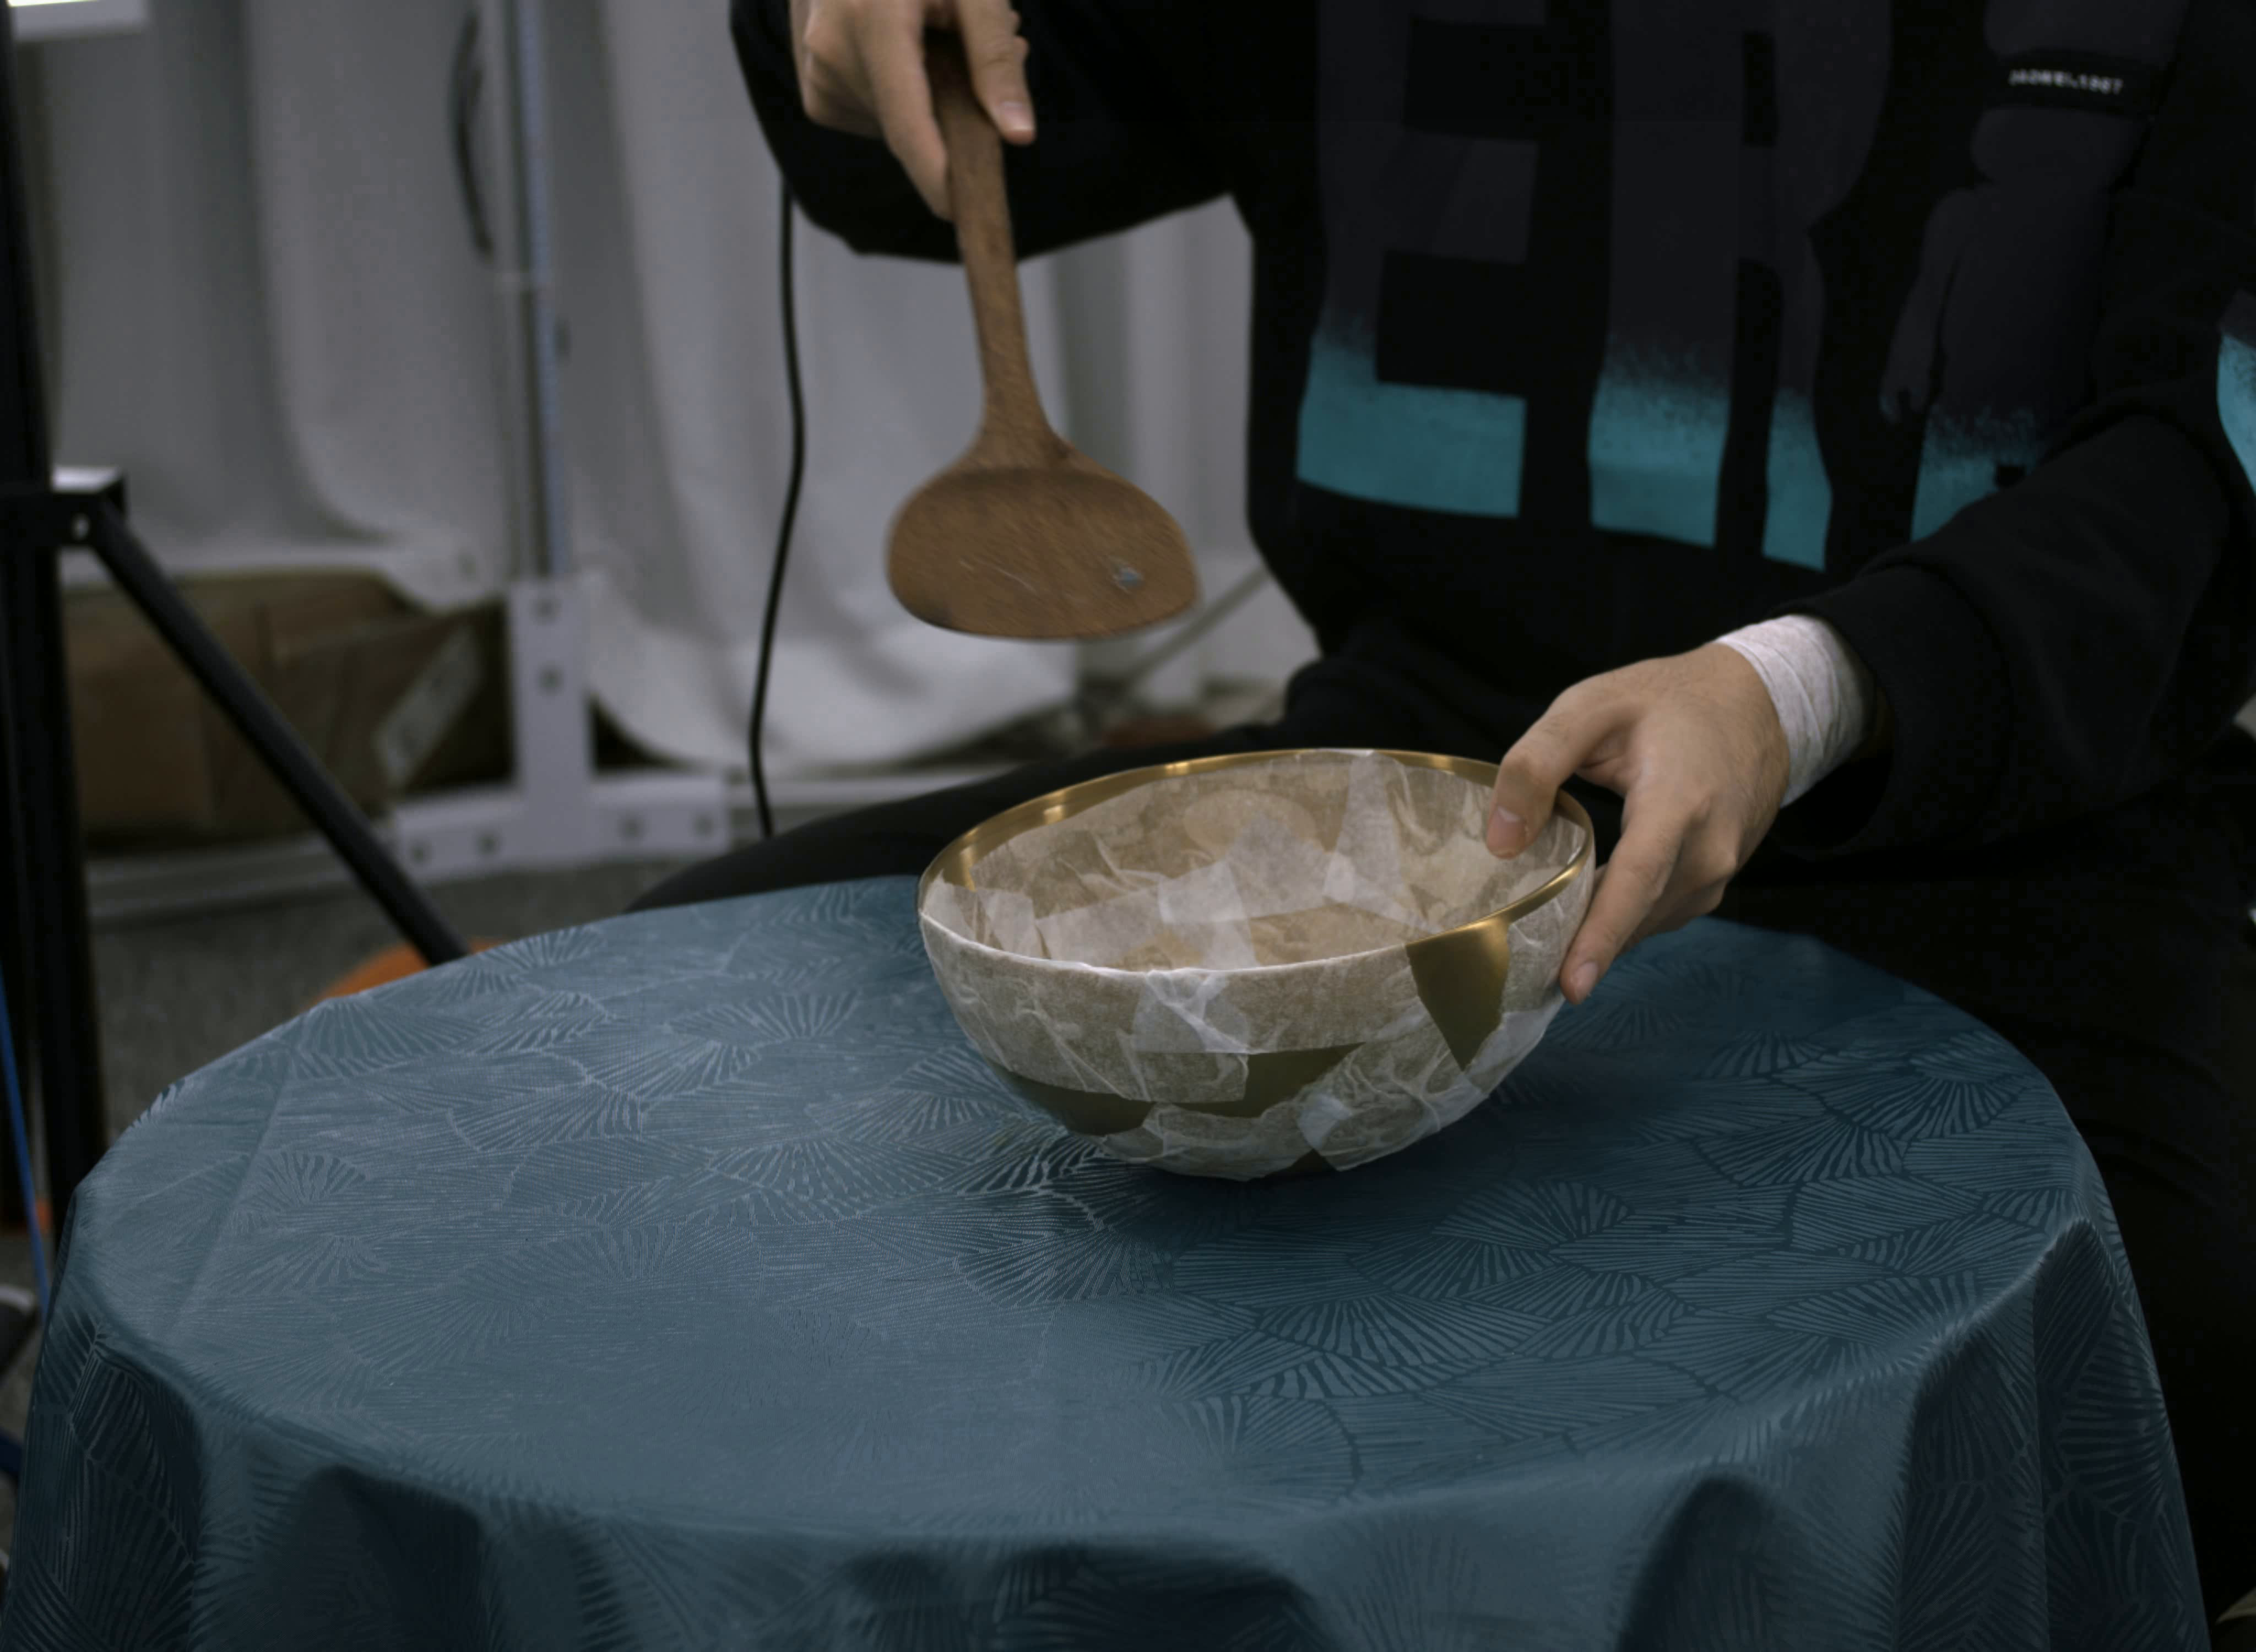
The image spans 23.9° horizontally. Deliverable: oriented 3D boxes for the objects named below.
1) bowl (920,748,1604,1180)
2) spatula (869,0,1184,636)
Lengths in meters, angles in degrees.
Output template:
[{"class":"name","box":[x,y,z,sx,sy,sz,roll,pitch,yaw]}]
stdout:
[{"class":"bowl","box":[0.045,0.050,1.580,0.214,0.094,0.216,-6,16,0]},{"class":"spatula","box":[-0.048,-0.180,1.731,0.095,0.016,0.391,-3,40,-5]}]
